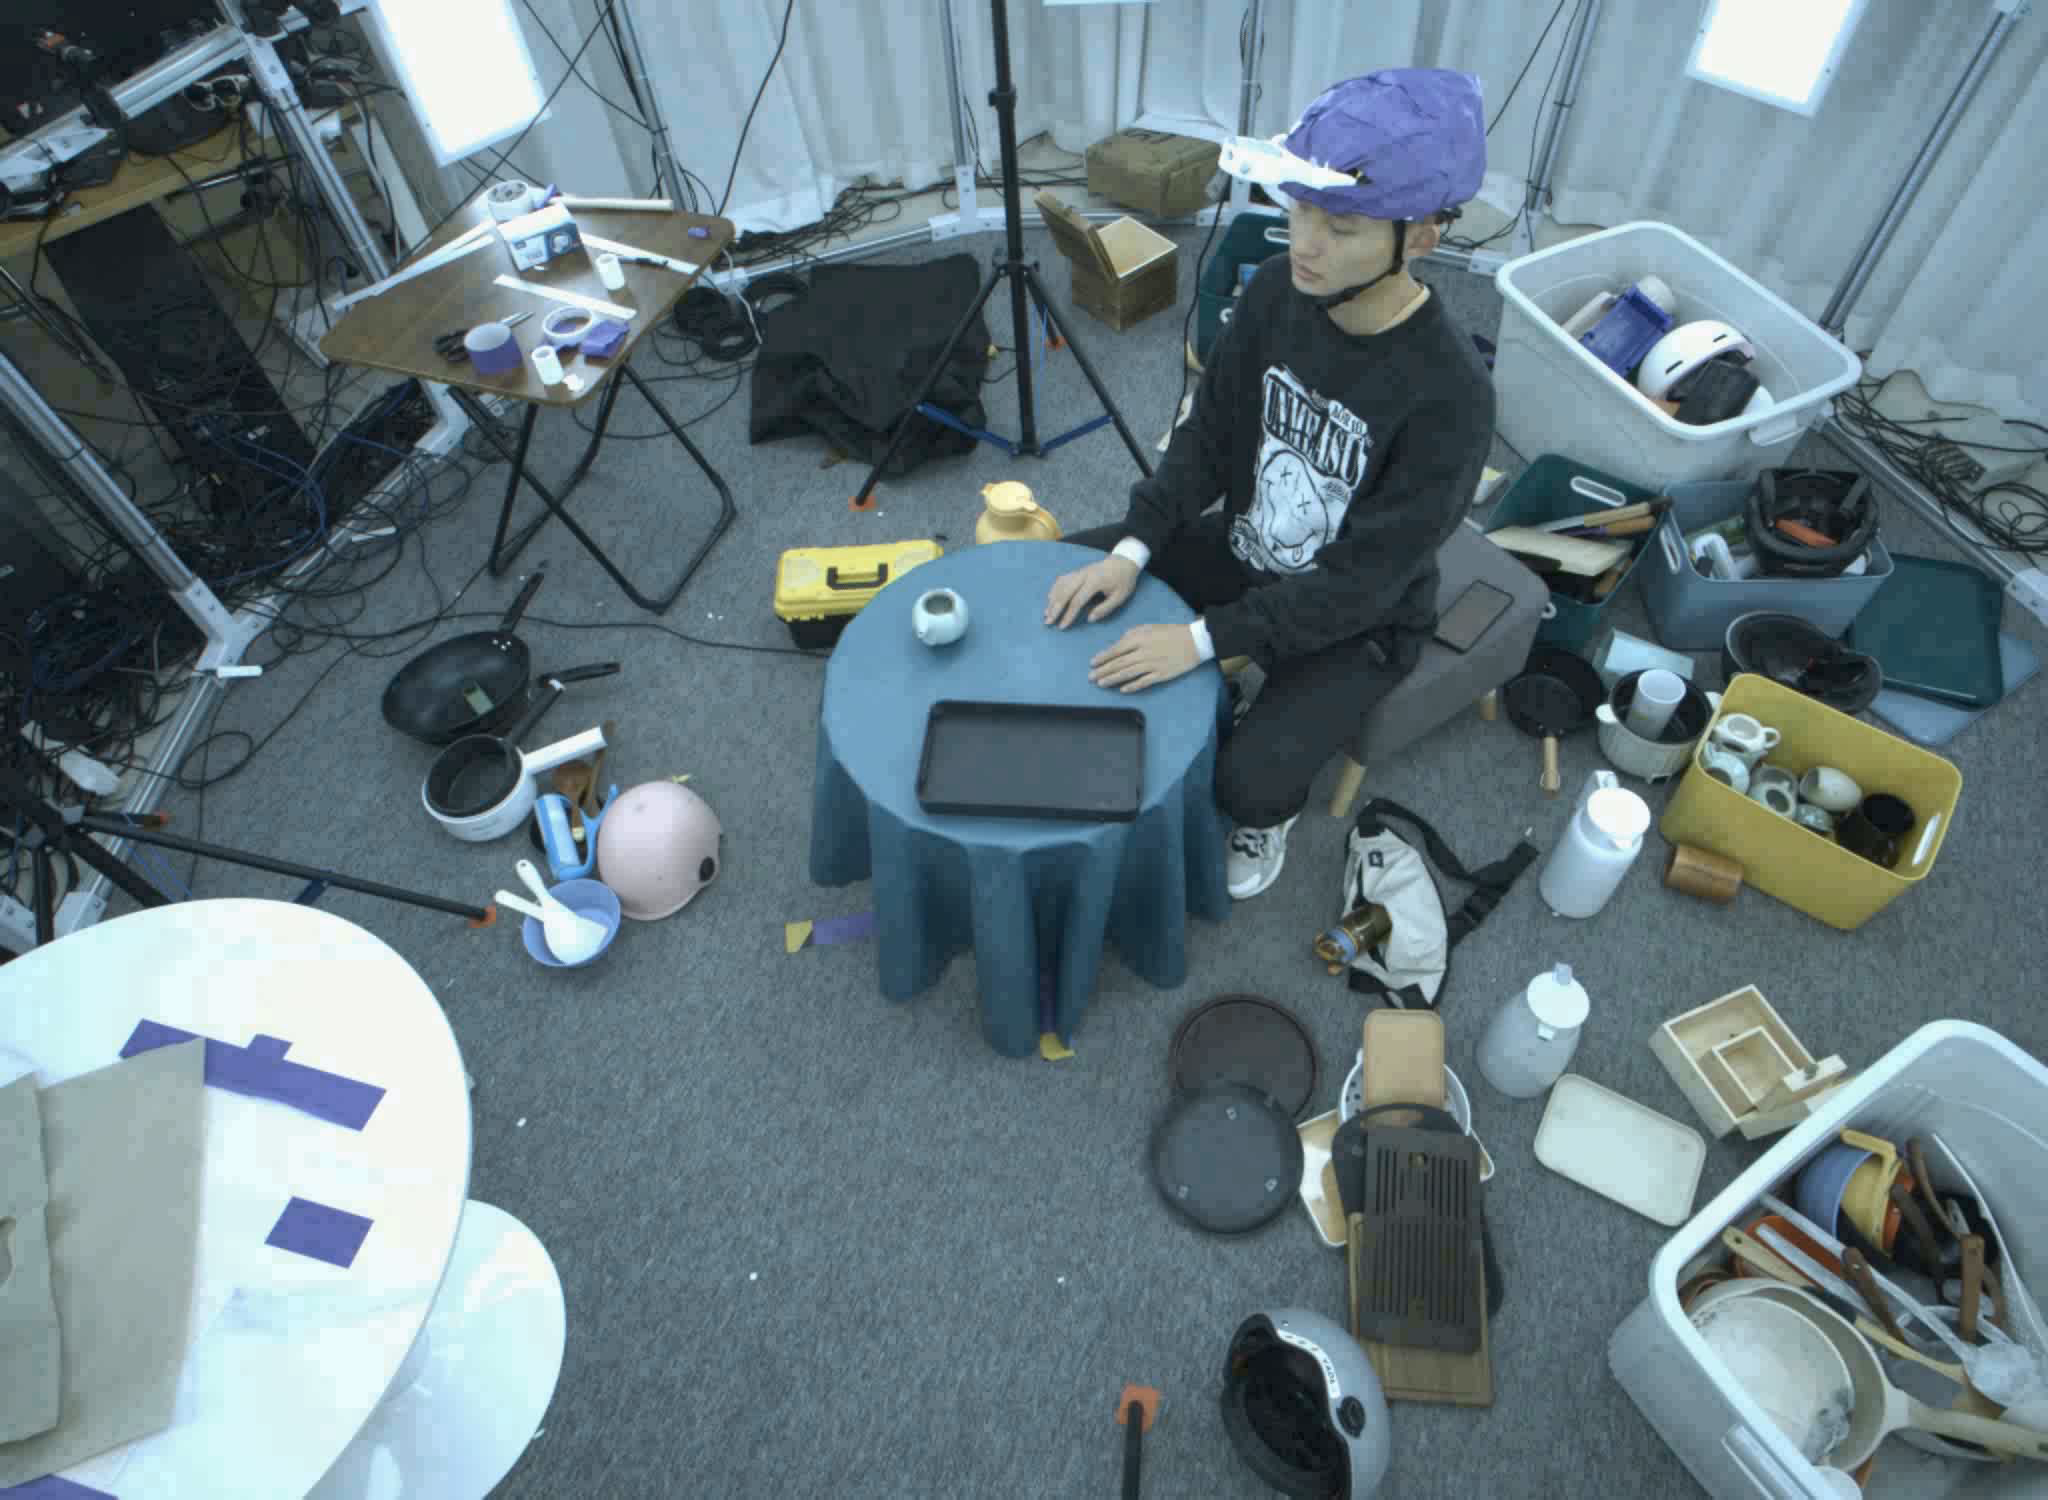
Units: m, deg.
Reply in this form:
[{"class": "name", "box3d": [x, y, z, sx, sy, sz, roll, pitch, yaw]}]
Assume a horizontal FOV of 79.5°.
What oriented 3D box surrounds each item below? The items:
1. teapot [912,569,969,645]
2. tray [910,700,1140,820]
[{"class": "teapot", "box3d": [-0.130, -0.207, 1.890, 0.087, 0.075, 0.144, 17, 59, 14]}, {"class": "tray", "box3d": [0.005, 0.013, 1.752, 0.317, 0.037, 0.182, 1, 55, 3]}]
